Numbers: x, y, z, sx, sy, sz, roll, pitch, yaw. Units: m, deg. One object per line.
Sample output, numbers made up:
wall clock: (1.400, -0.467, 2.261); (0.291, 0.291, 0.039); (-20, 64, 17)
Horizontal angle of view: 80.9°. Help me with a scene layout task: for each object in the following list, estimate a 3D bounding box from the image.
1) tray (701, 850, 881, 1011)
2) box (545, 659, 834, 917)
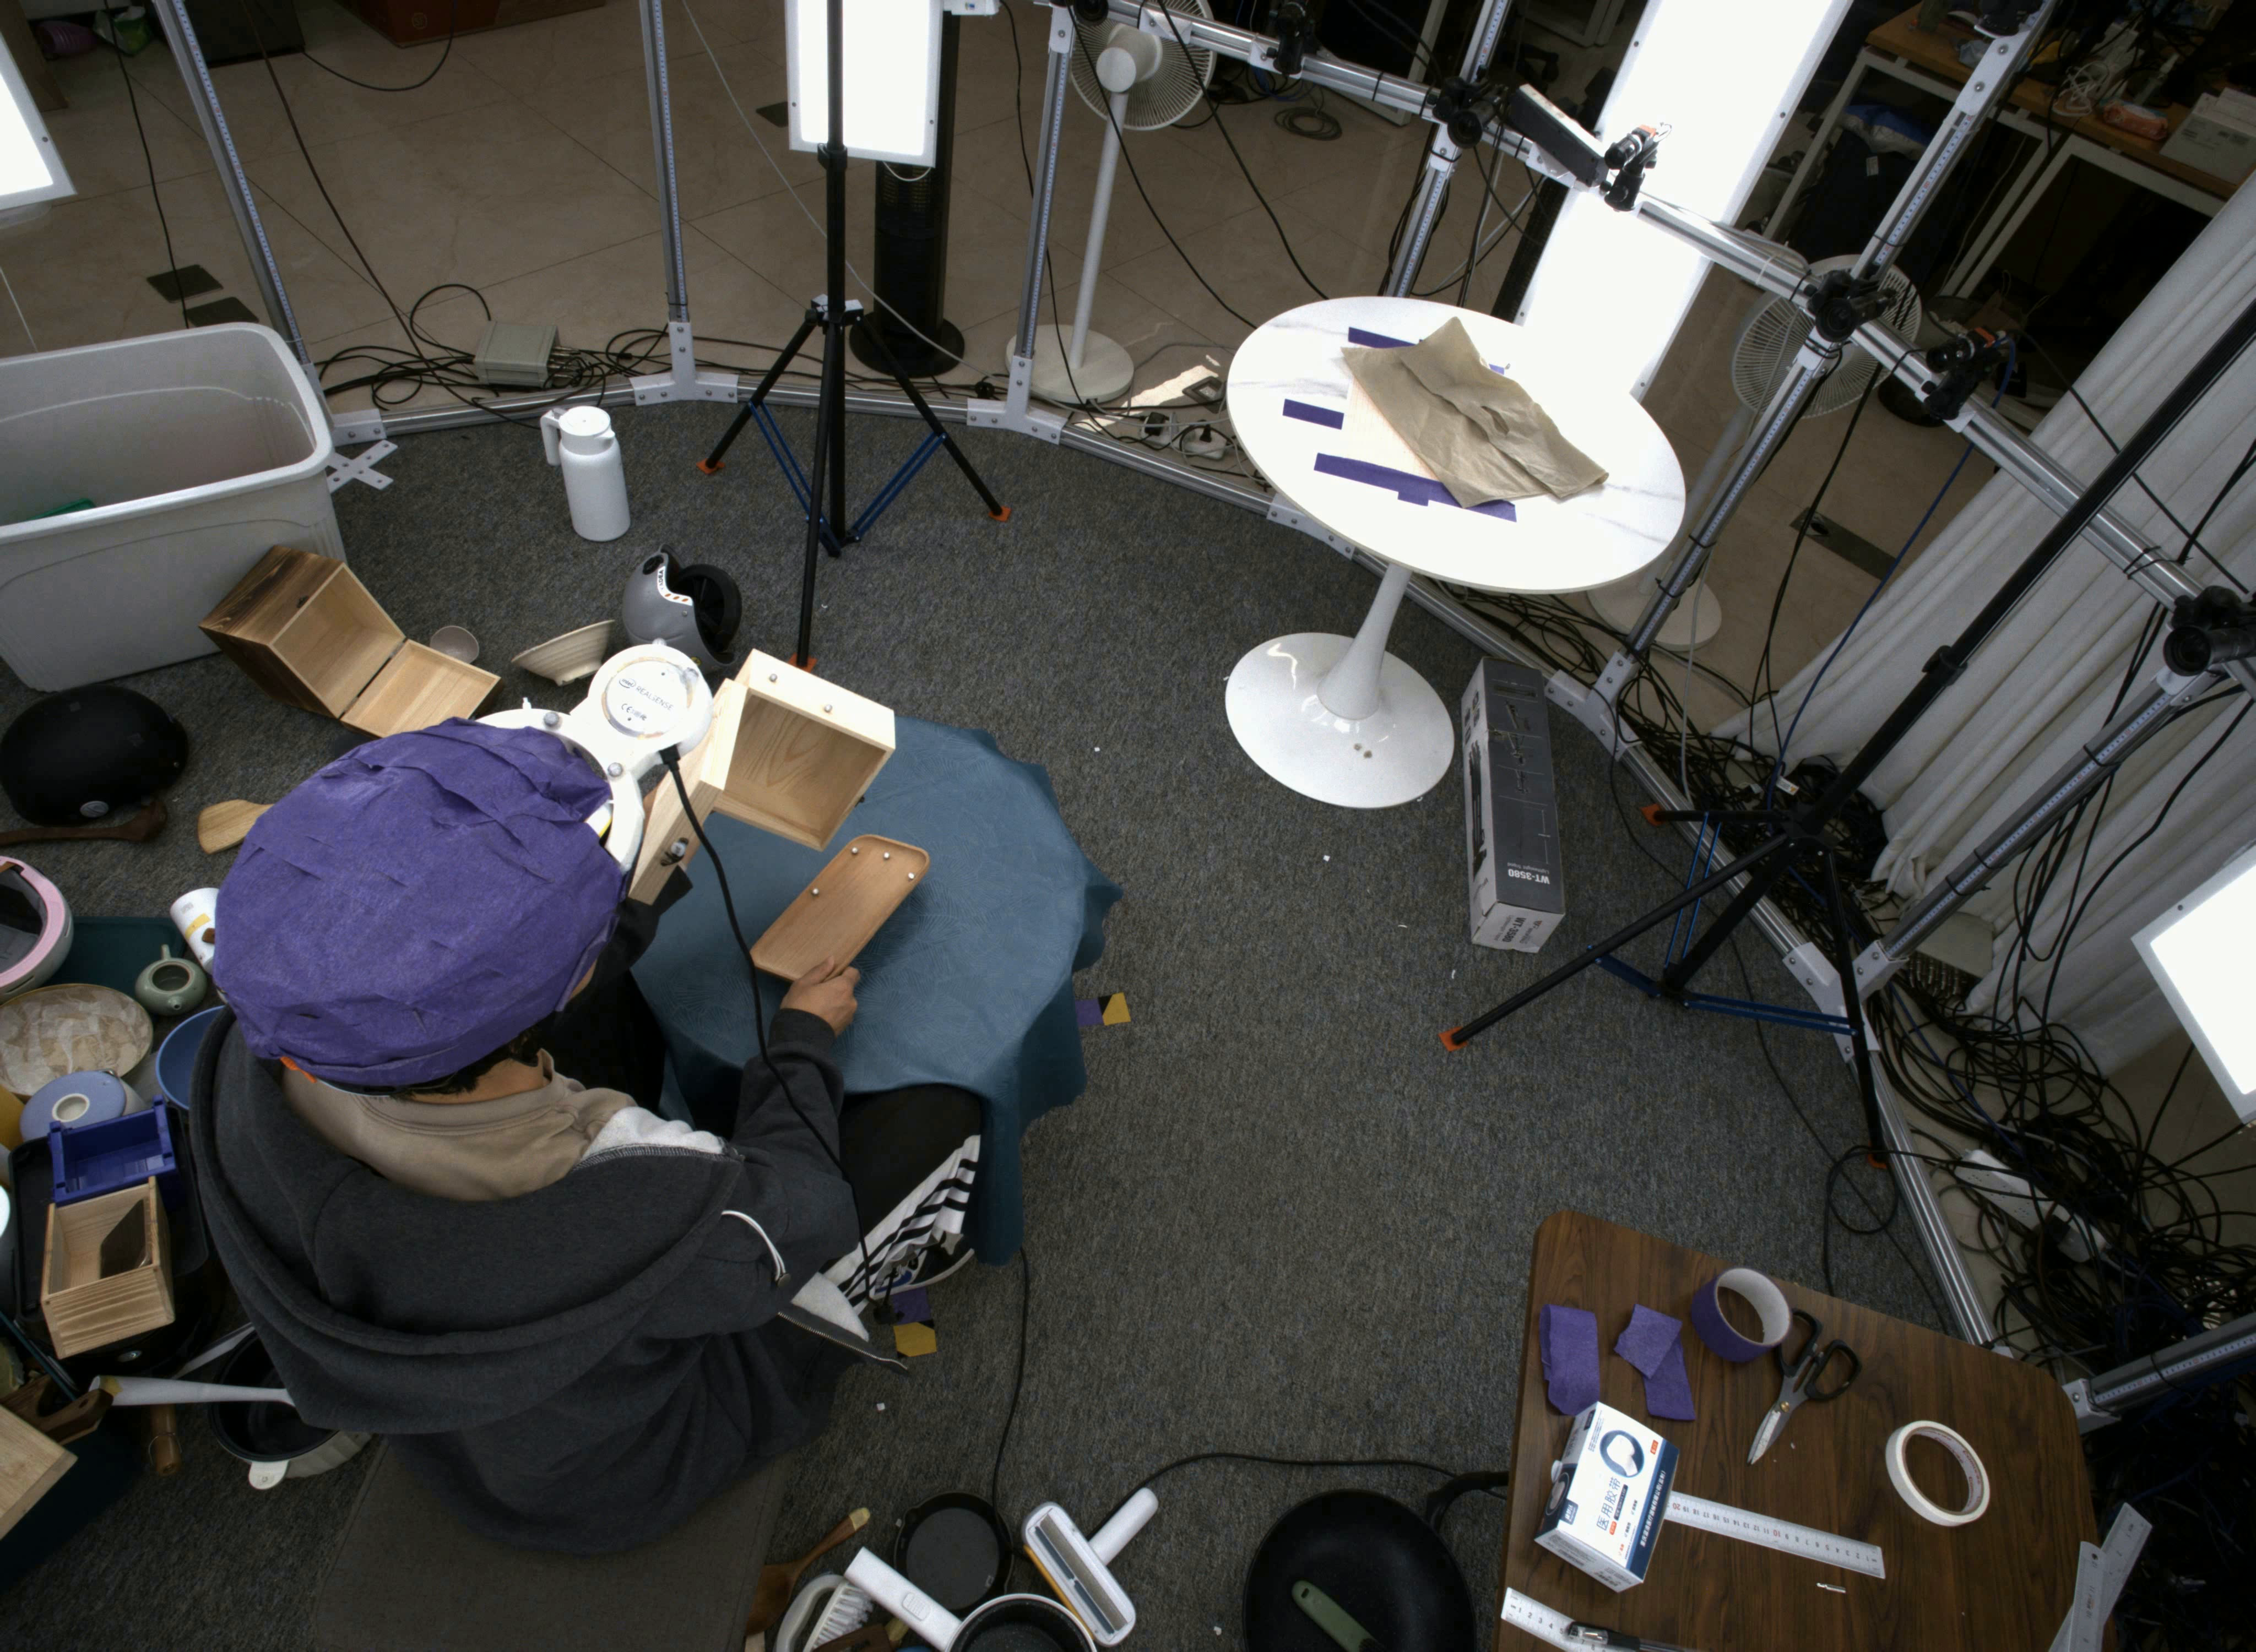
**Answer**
tray: (-0.410, 0.122, 1.590); (0.126, 0.024, 0.249); (11, 47, 23)
box: (-0.469, -0.021, 1.390); (0.271, 0.182, 0.246); (21, 36, -31)
